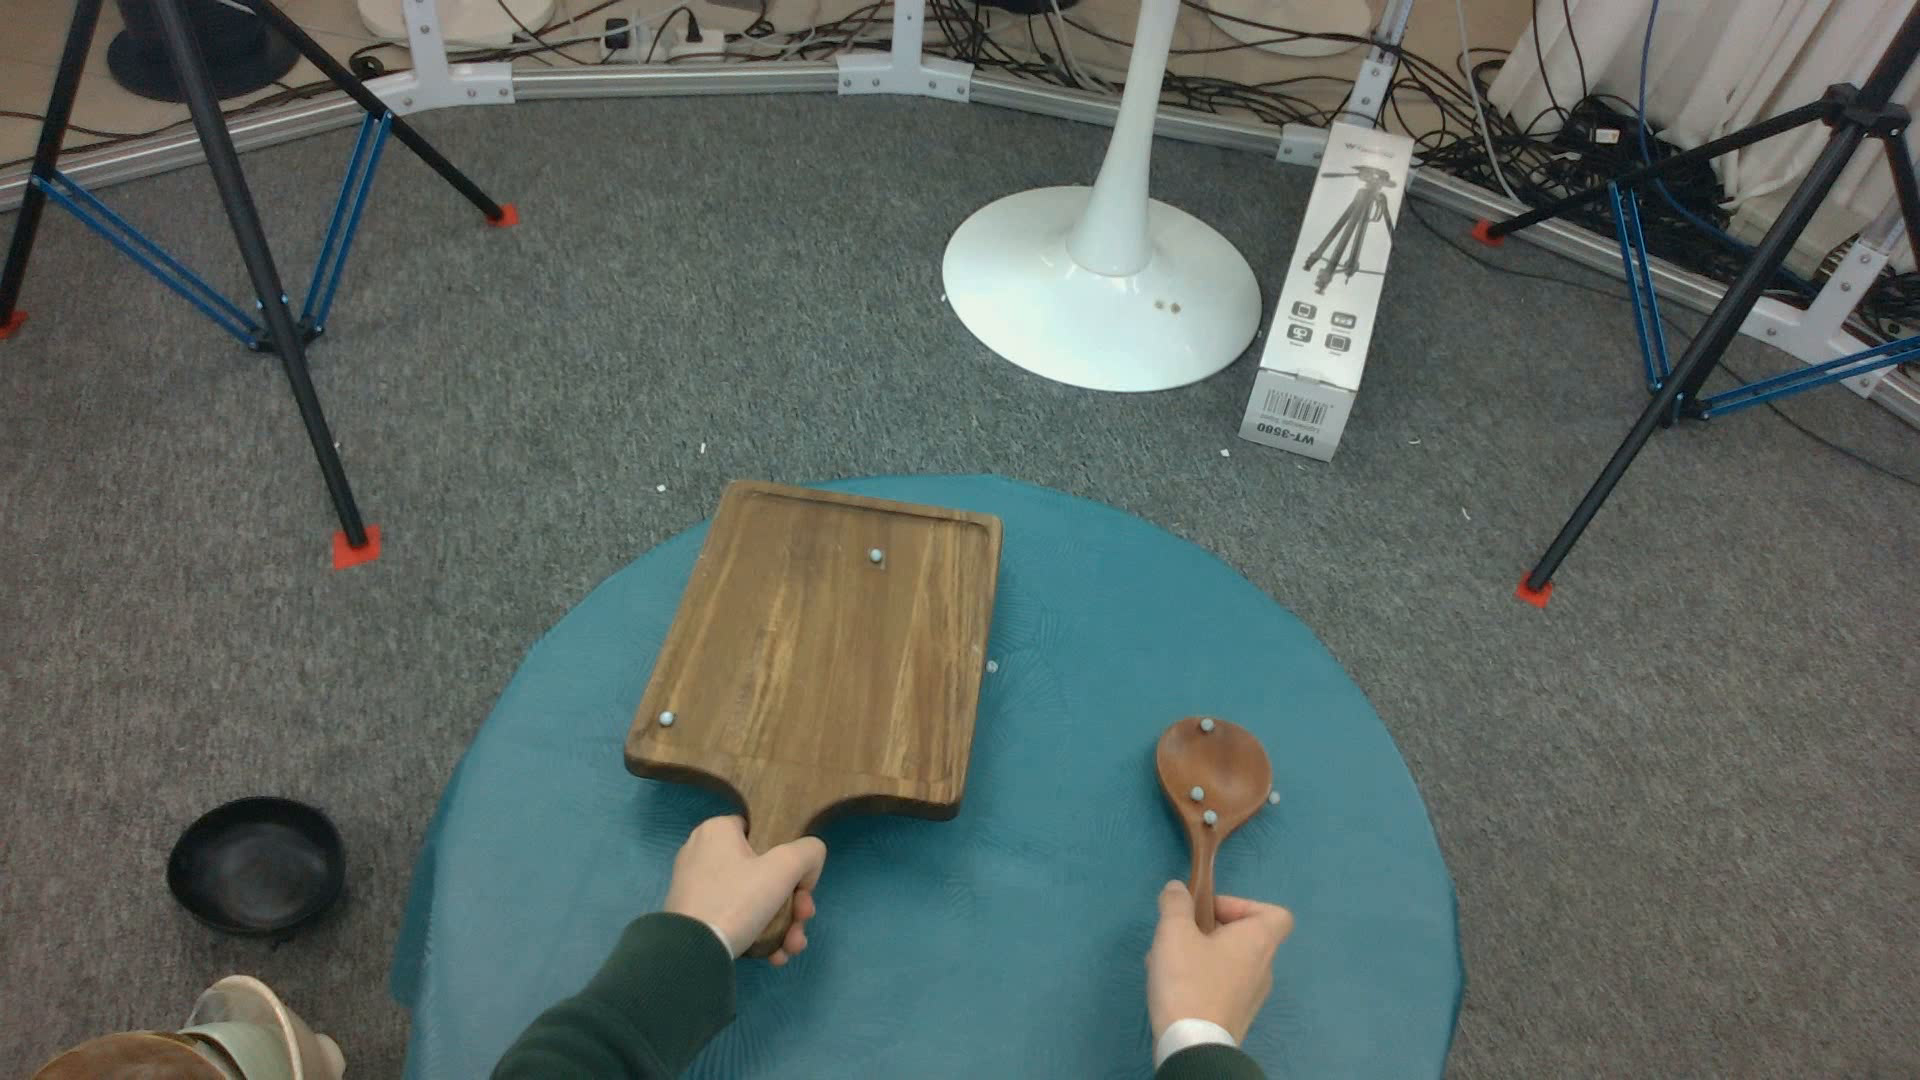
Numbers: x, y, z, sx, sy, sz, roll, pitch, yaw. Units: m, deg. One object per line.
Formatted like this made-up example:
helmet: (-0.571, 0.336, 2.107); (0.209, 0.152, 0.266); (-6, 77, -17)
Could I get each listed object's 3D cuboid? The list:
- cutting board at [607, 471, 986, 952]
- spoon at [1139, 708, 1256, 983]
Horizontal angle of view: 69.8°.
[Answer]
cutting board: (-0.097, 0.086, 0.831); (0.201, 0.023, 0.354); (9, 43, 1)
spoon: (0.134, 0.172, 0.806); (0.075, 0.017, 0.217); (16, 33, 4)
